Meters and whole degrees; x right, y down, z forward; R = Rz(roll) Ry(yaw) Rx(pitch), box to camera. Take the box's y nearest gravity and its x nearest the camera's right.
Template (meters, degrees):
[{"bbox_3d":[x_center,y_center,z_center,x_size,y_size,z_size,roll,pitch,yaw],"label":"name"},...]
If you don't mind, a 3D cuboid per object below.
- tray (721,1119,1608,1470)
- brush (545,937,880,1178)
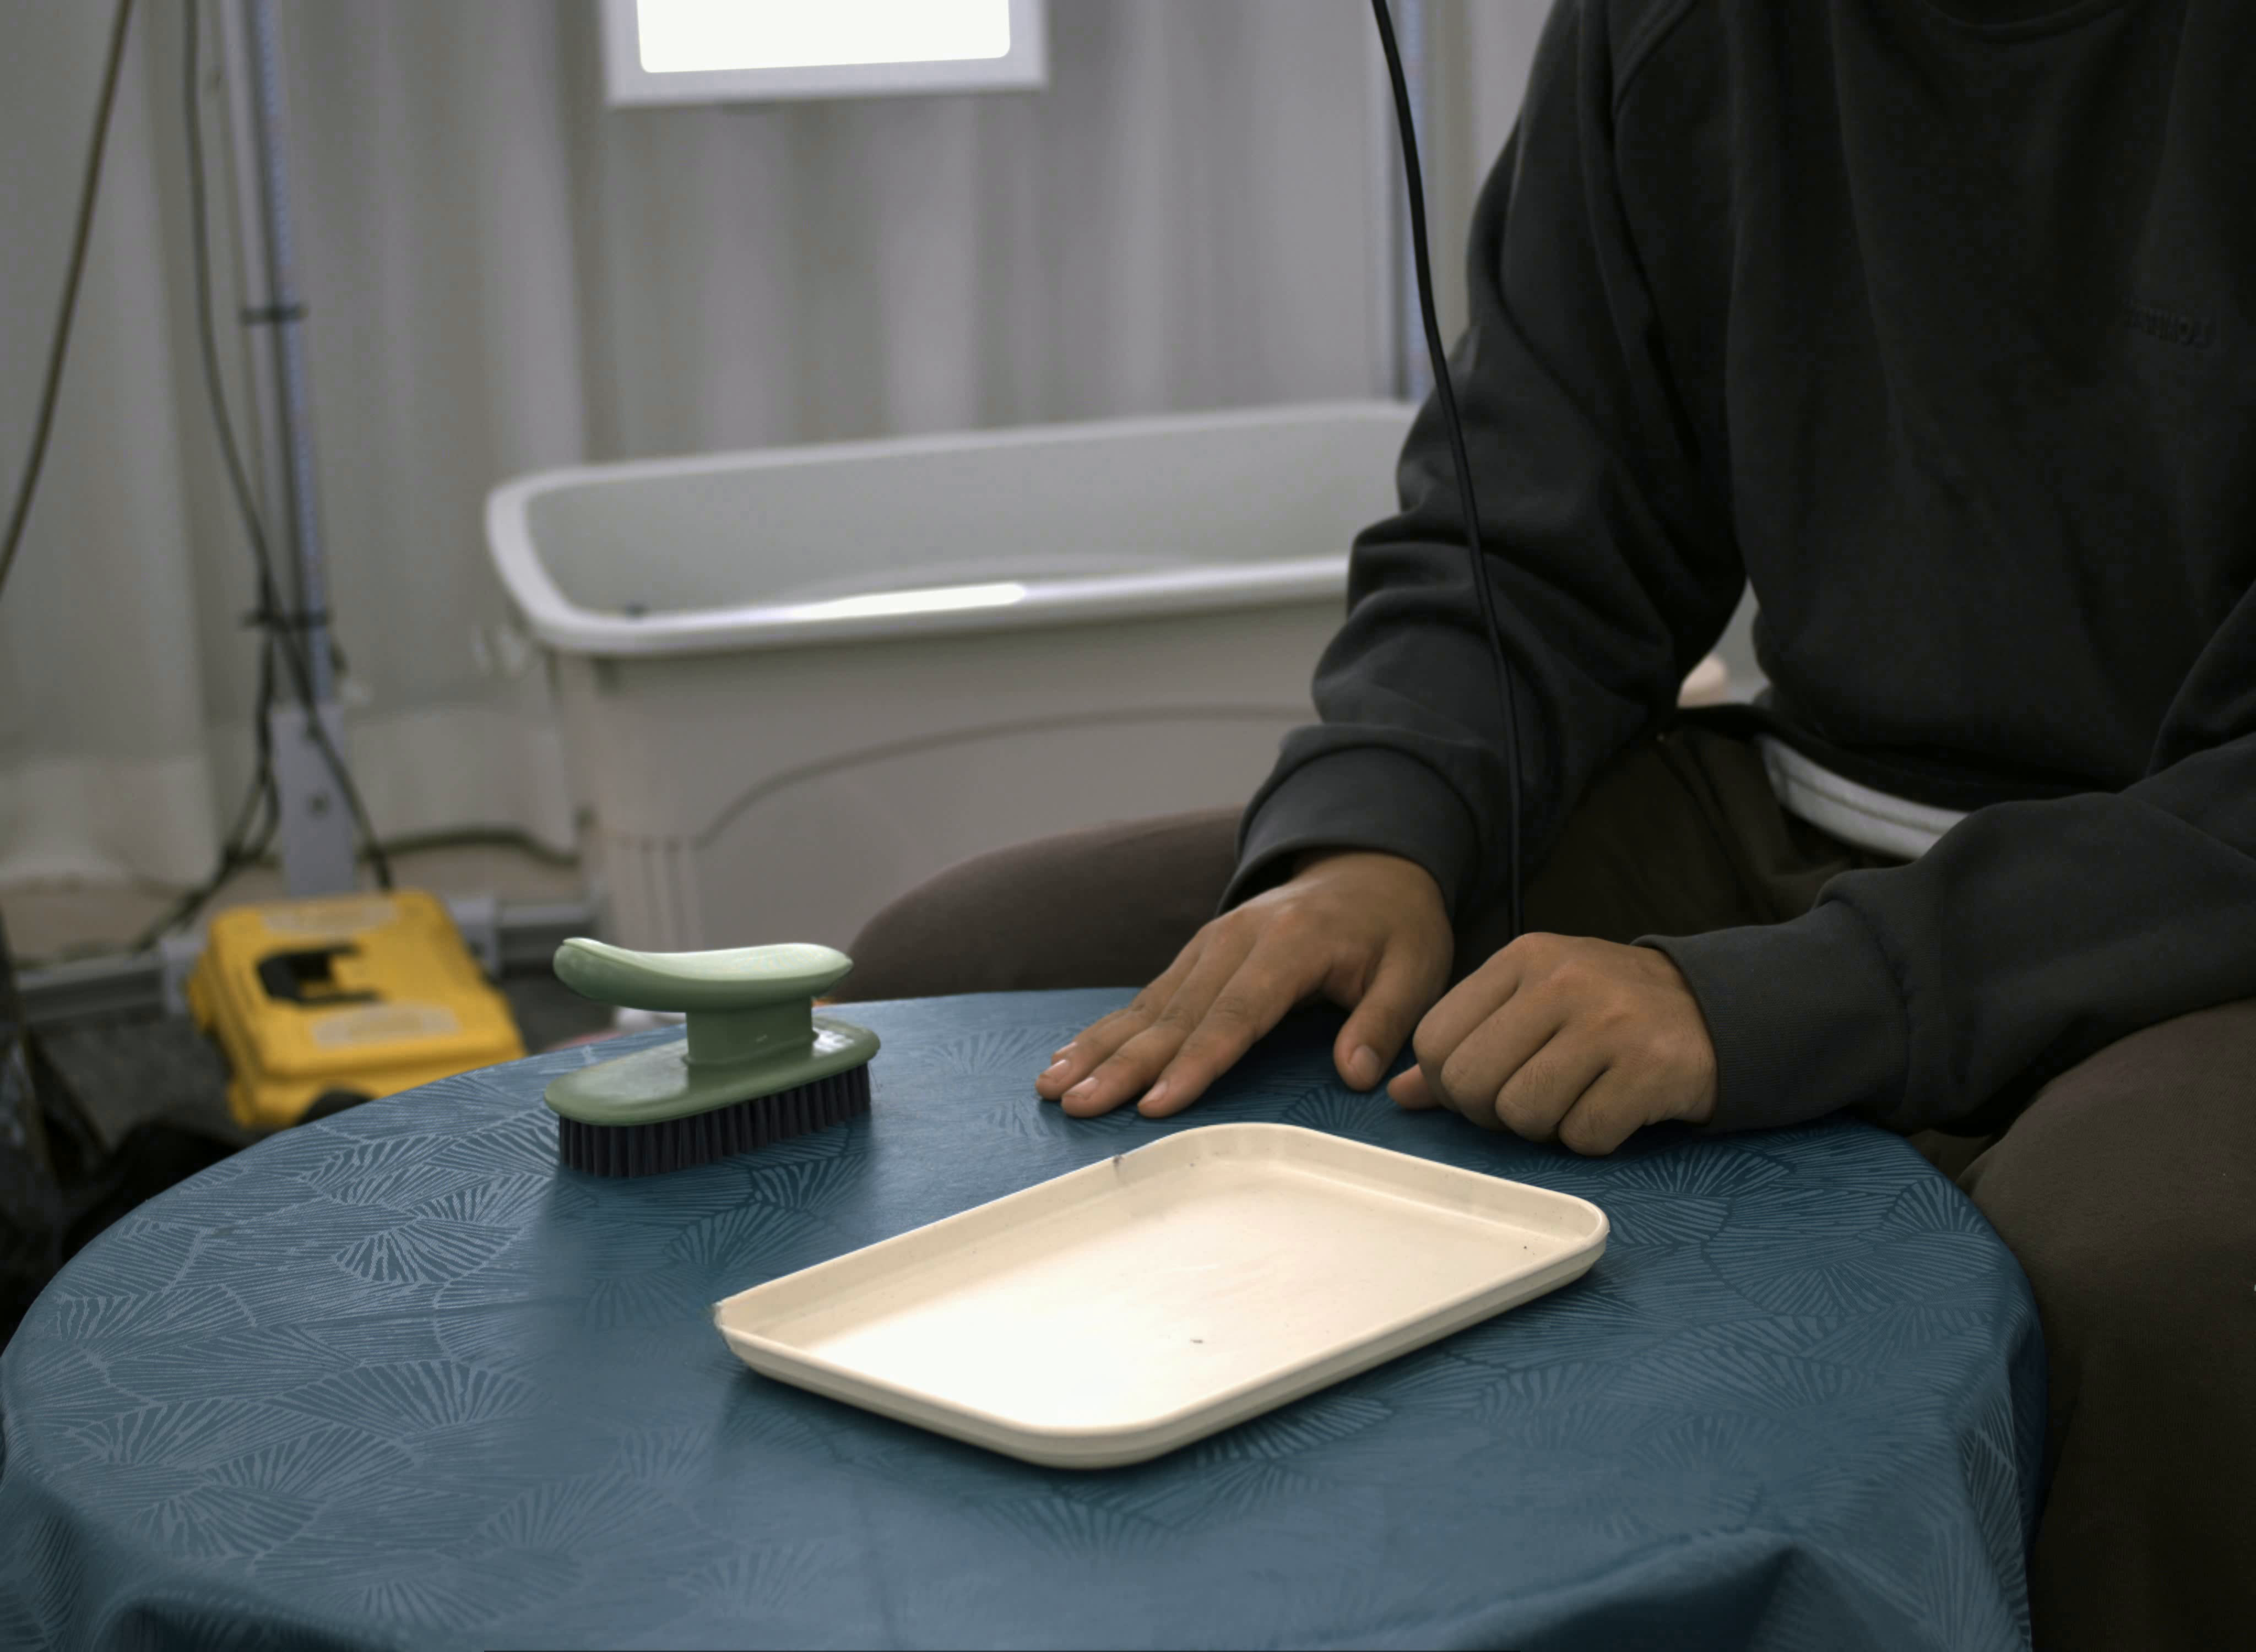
[{"bbox_3d":[0.013,0.136,1.601,0.172,0.017,0.239,12,21,43],"label":"tray"},{"bbox_3d":[-0.137,0.075,1.787,0.122,0.076,0.060,3,7,-42],"label":"brush"}]
